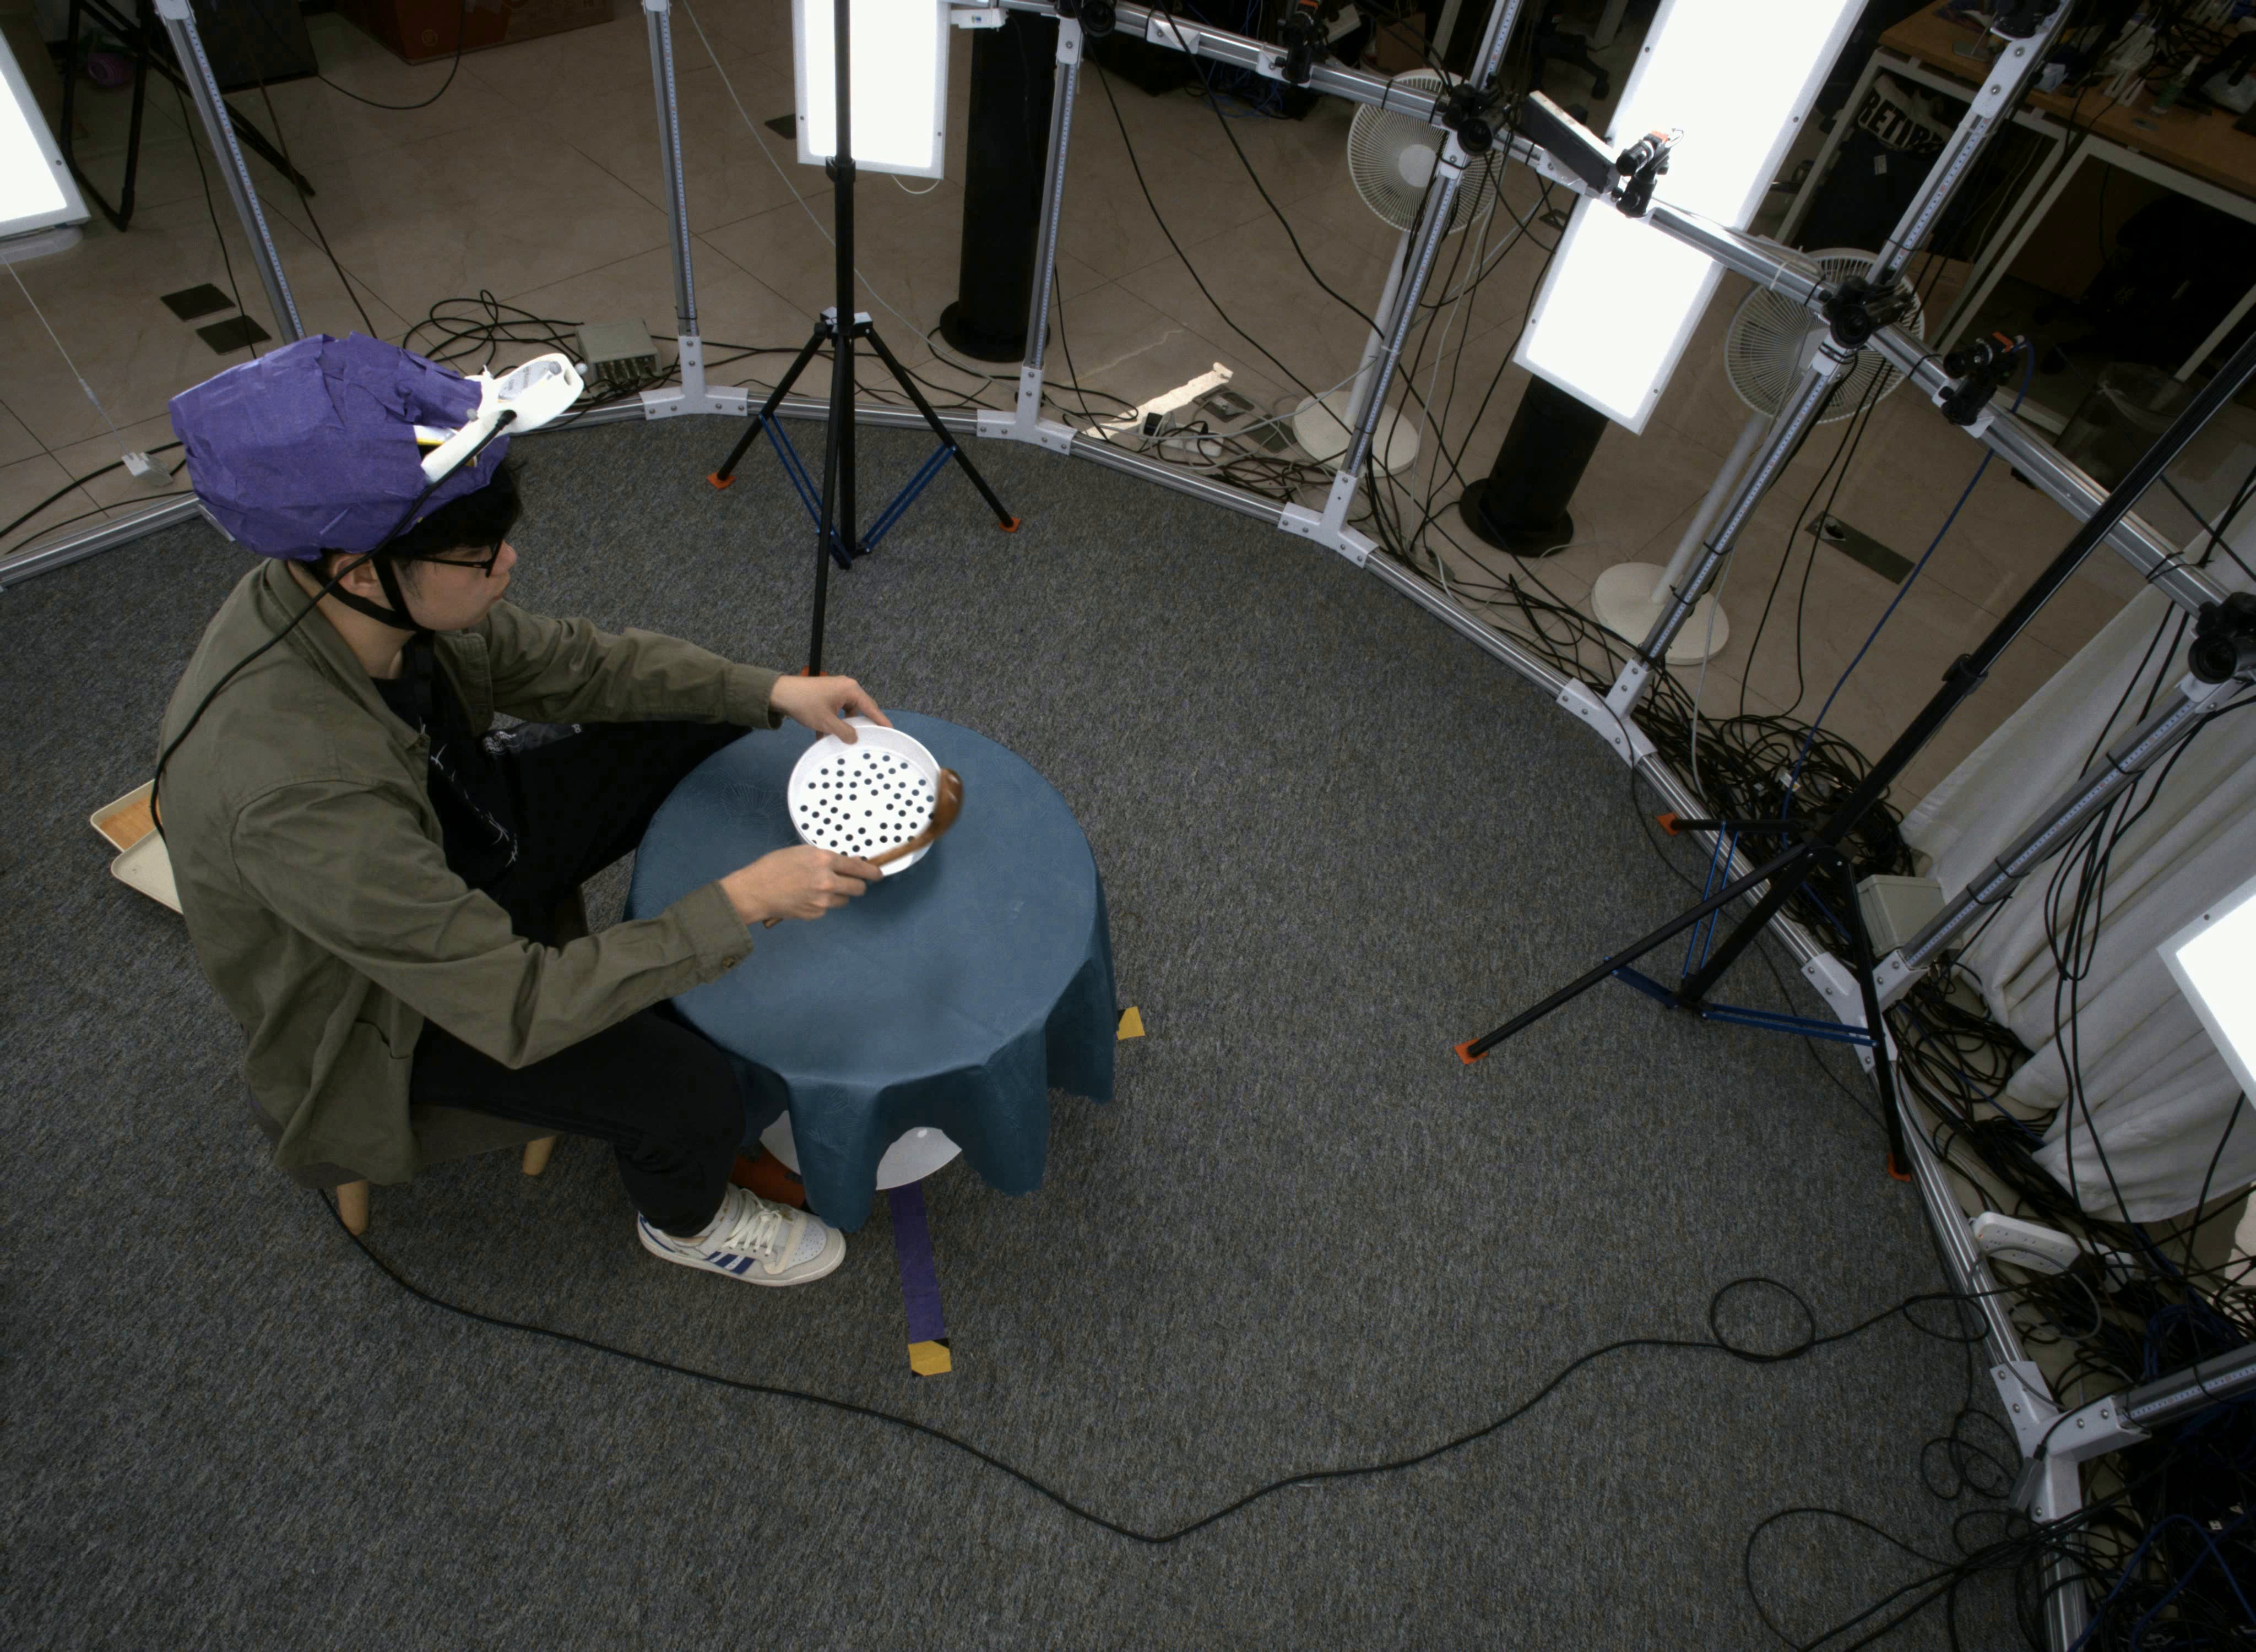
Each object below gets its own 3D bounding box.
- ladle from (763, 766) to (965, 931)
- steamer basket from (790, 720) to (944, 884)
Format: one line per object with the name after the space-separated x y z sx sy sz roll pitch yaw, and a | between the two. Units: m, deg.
-0.304 0.021 1.476 0.273 0.081 0.077 -27 92 -10 | ladle
-0.339 -0.025 1.706 0.202 0.070 0.228 -13 70 -17 | steamer basket
